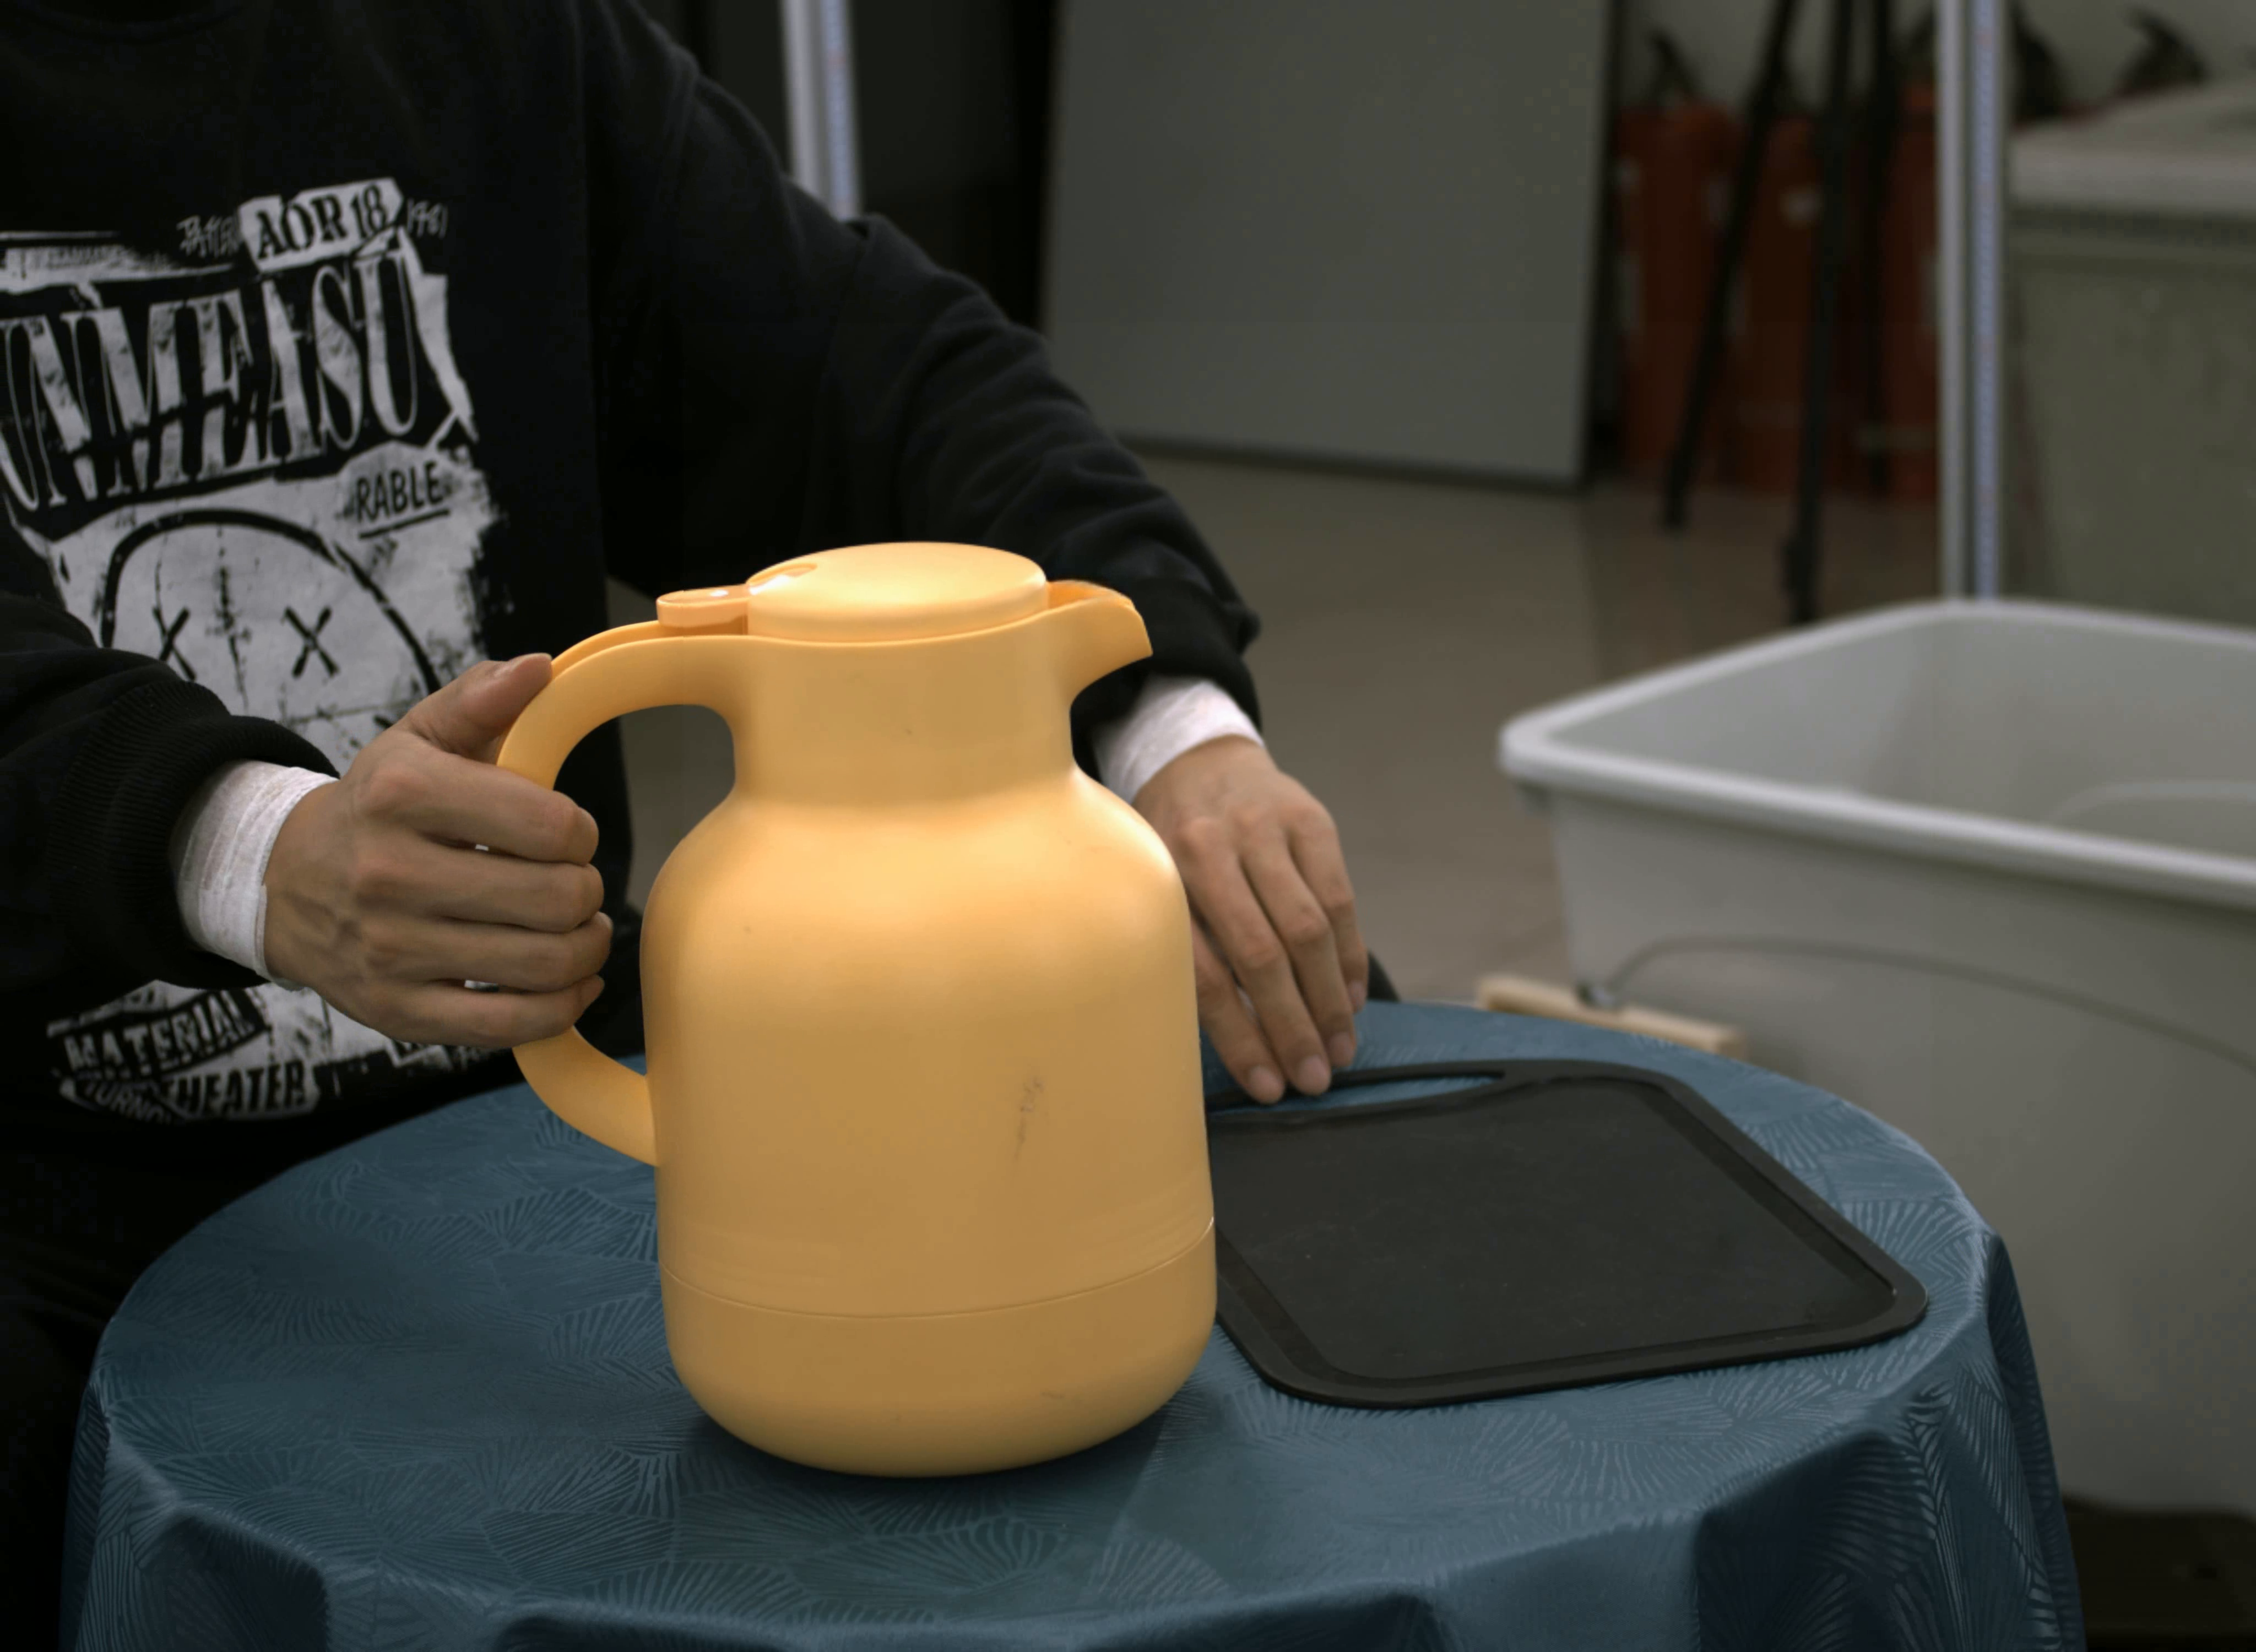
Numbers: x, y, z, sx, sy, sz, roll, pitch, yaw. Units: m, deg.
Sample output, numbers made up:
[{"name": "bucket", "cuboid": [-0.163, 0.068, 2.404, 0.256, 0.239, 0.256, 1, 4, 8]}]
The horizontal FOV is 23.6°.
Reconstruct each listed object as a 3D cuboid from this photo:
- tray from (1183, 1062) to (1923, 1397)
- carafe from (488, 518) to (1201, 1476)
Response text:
[{"name": "tray", "cuboid": [0.113, 0.122, 1.722, 0.207, 0.010, 0.327, -7, 14, -11]}, {"name": "carafe", "cuboid": [-0.081, 0.046, 1.551, 0.199, 0.263, 0.164, -3, 10, -3]}]
